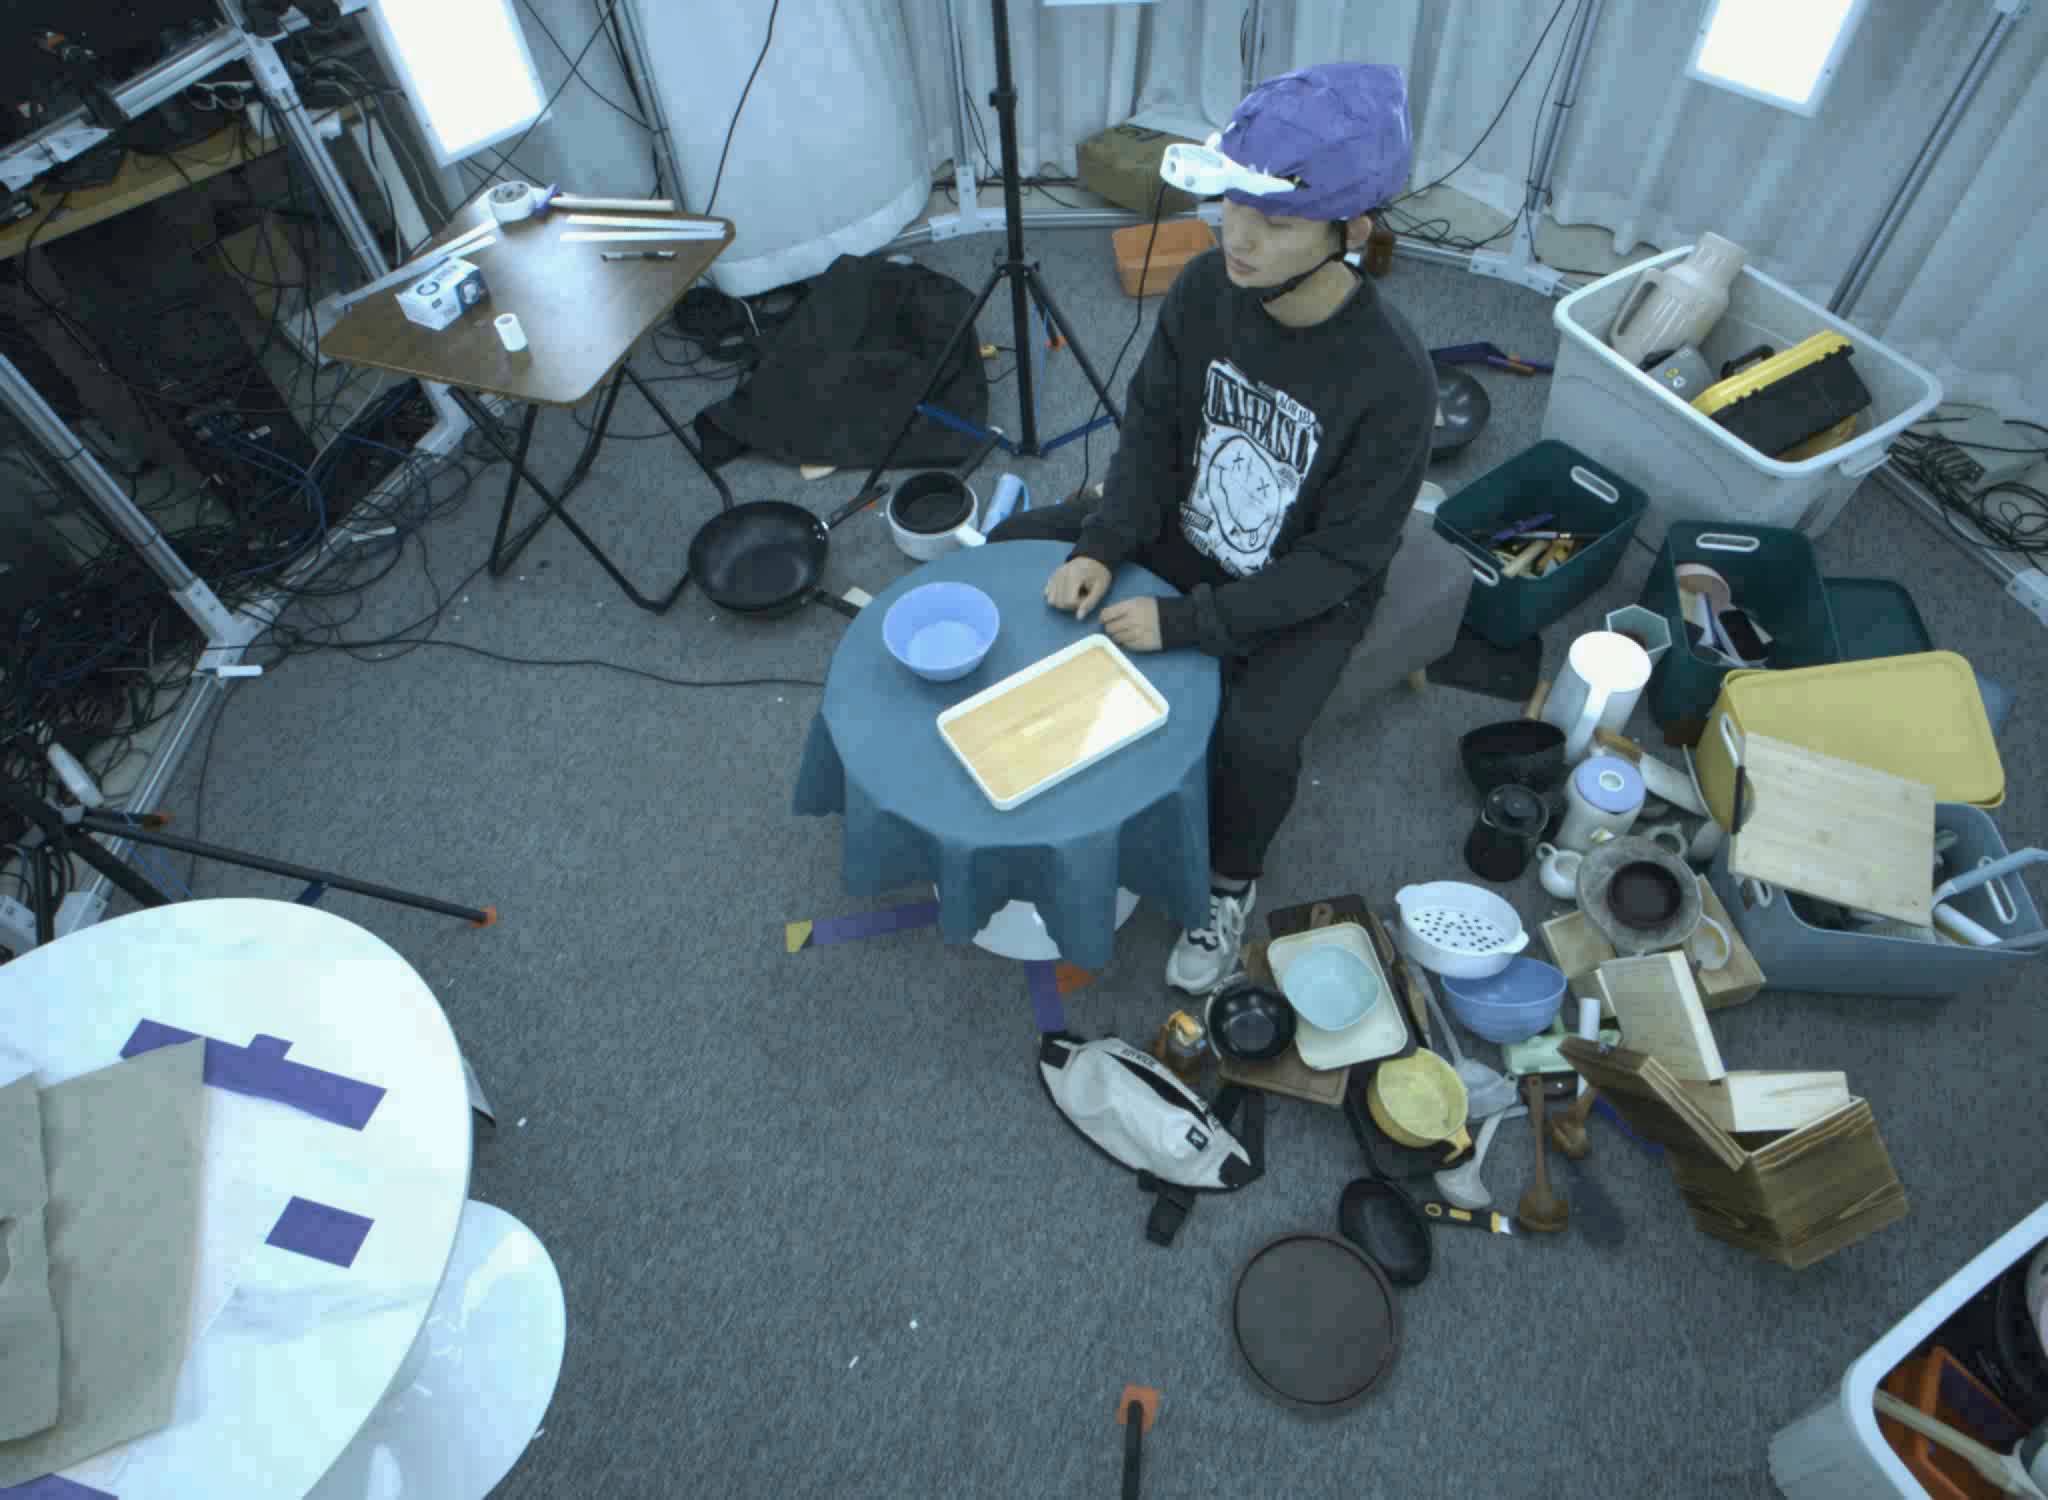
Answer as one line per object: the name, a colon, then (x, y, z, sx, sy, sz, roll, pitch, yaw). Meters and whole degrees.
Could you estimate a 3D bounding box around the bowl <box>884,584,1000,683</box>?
bowl: (-0.123, -0.168, 1.876, 0.176, 0.071, 0.174, 0, 56, 1)

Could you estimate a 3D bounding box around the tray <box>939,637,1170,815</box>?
tray: (0.045, -0.041, 1.809, 0.302, 0.028, 0.188, -29, 58, -17)
